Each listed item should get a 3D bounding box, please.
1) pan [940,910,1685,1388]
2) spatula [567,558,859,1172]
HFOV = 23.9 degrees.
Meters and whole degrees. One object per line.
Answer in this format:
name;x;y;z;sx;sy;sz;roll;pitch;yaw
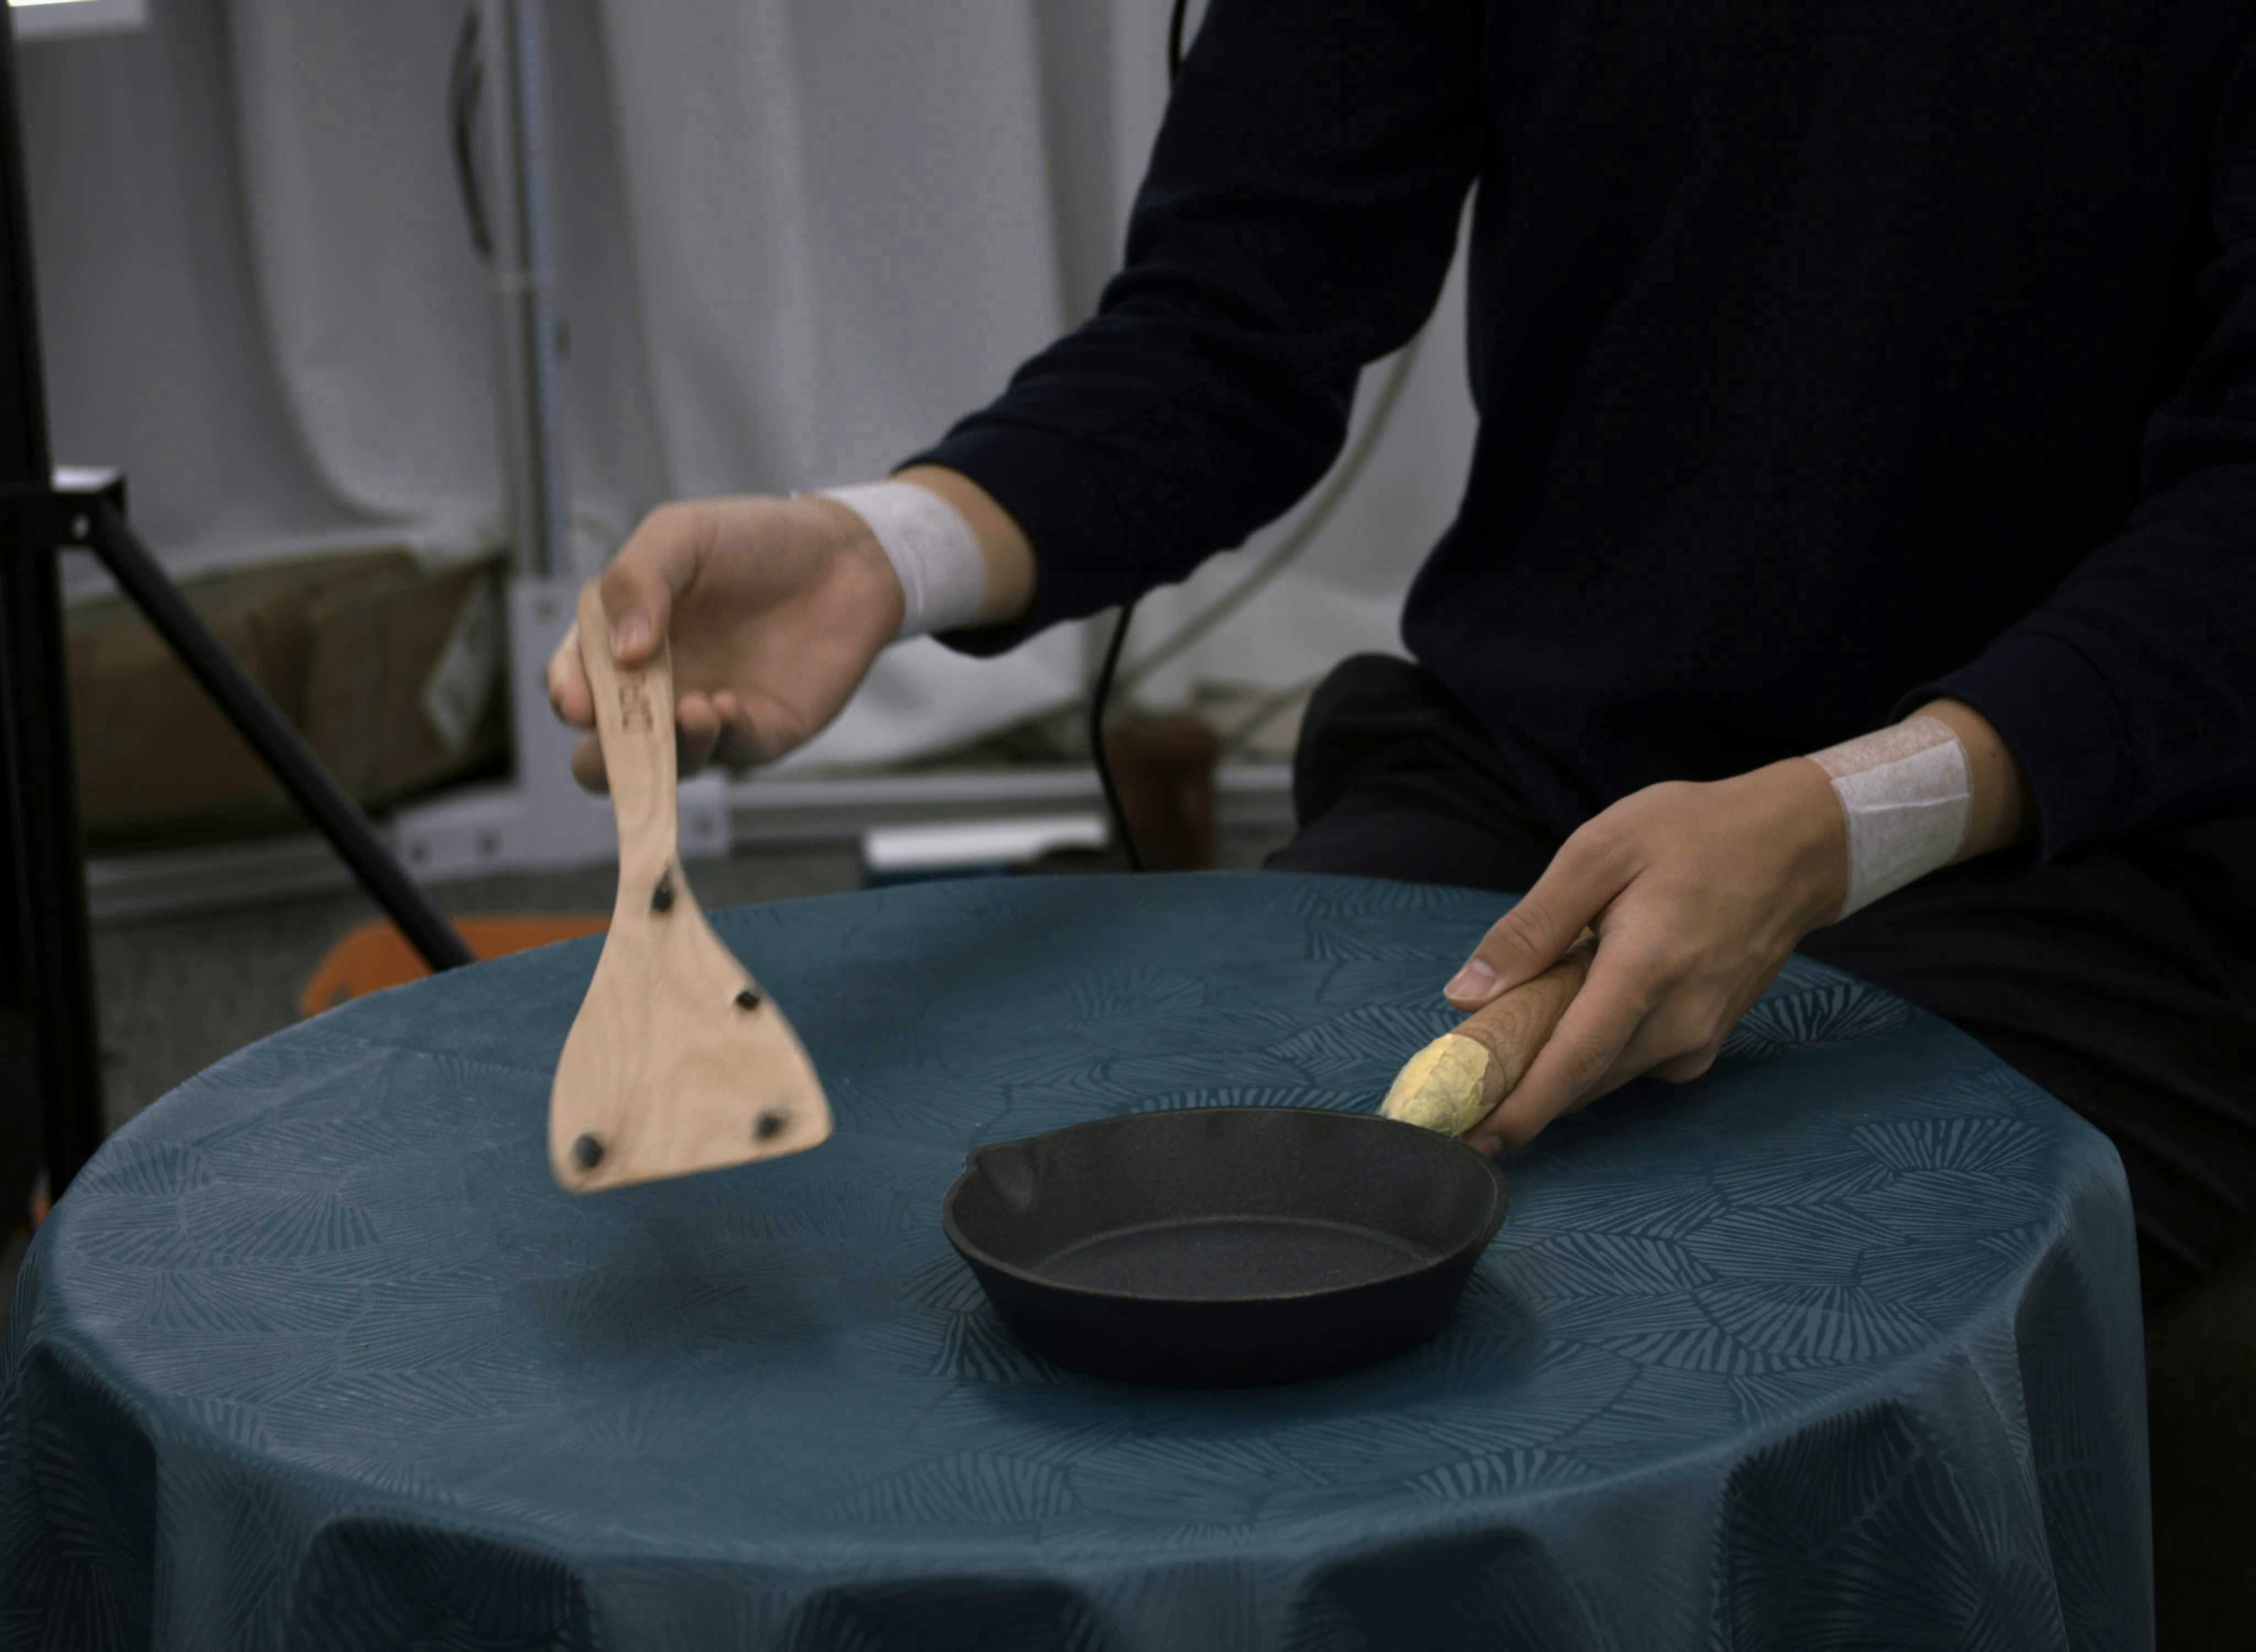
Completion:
pan;0.077;0.089;1.520;0.172;0.049;0.317;9;21;36
spatula;-0.137;0.004;1.579;0.079;0.016;0.332;-4;35;-9
